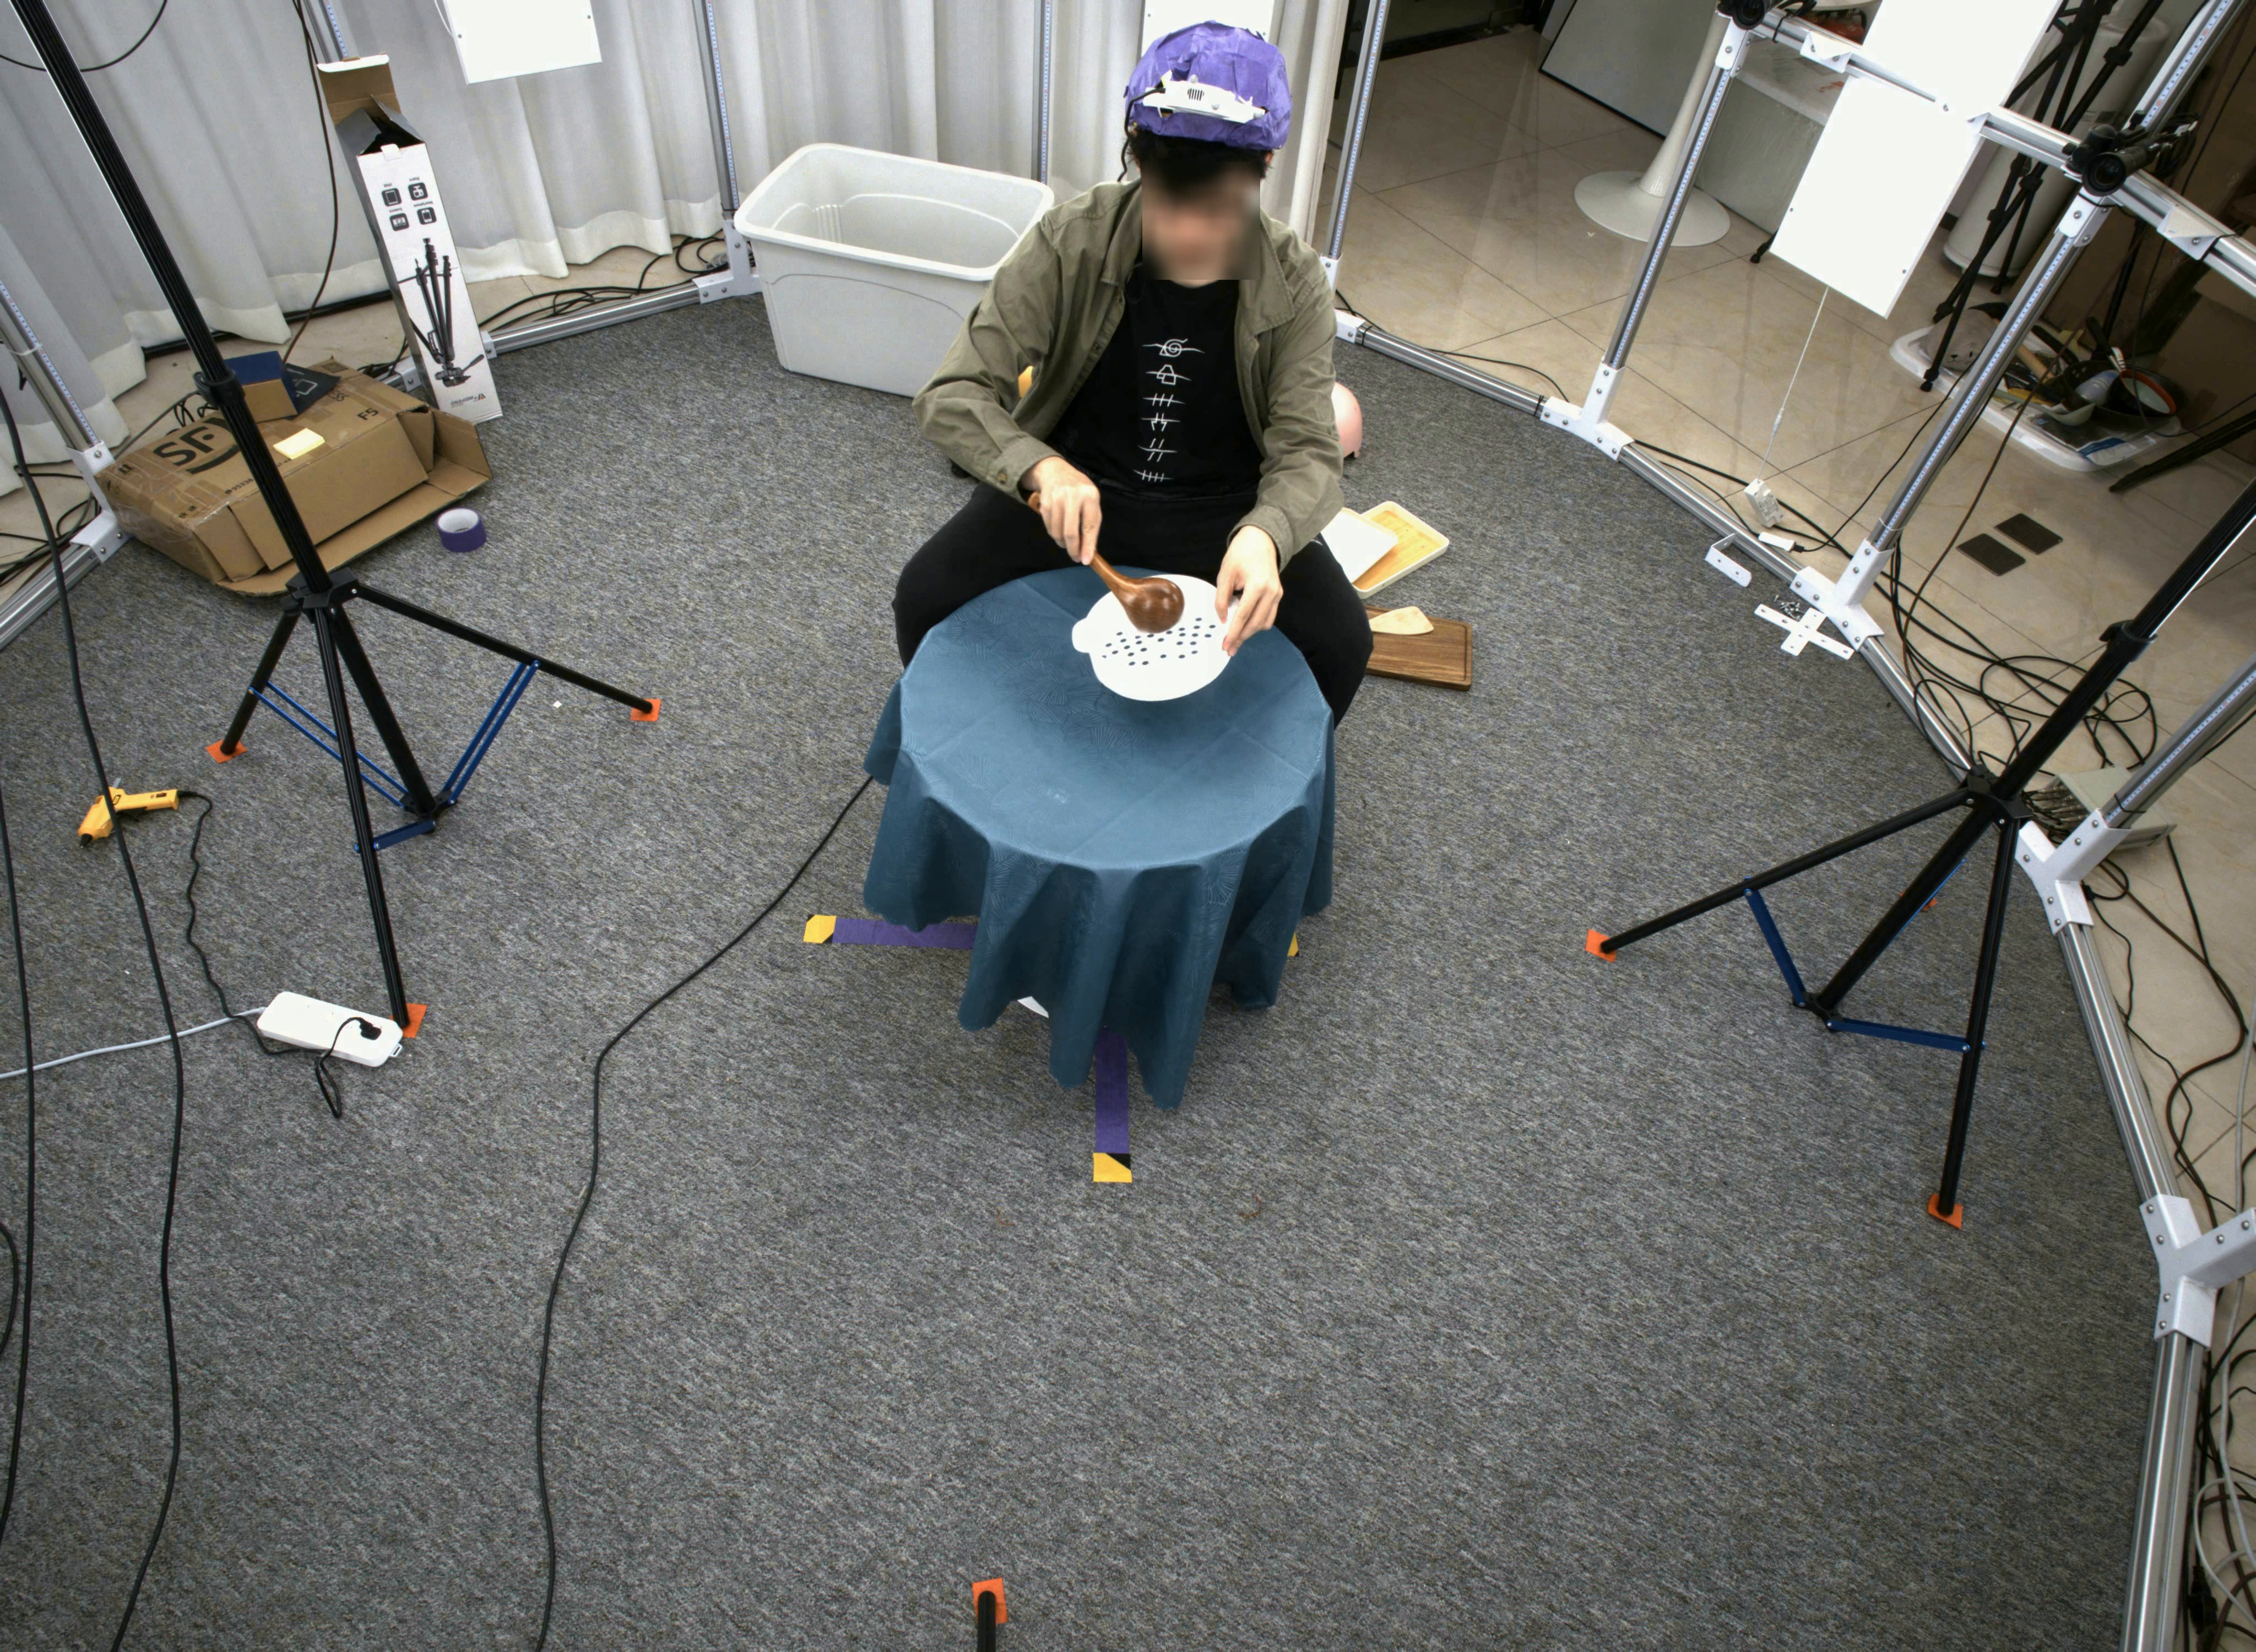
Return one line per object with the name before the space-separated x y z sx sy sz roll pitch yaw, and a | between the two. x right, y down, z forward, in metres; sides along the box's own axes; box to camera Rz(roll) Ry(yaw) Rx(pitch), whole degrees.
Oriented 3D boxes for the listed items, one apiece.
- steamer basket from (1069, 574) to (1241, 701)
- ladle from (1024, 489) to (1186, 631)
steamer basket | 0.039 -0.253 1.730 0.230 0.067 0.207 -9 45 3
ladle | -0.029 -0.365 1.729 0.076 0.081 0.278 -7 48 -51
